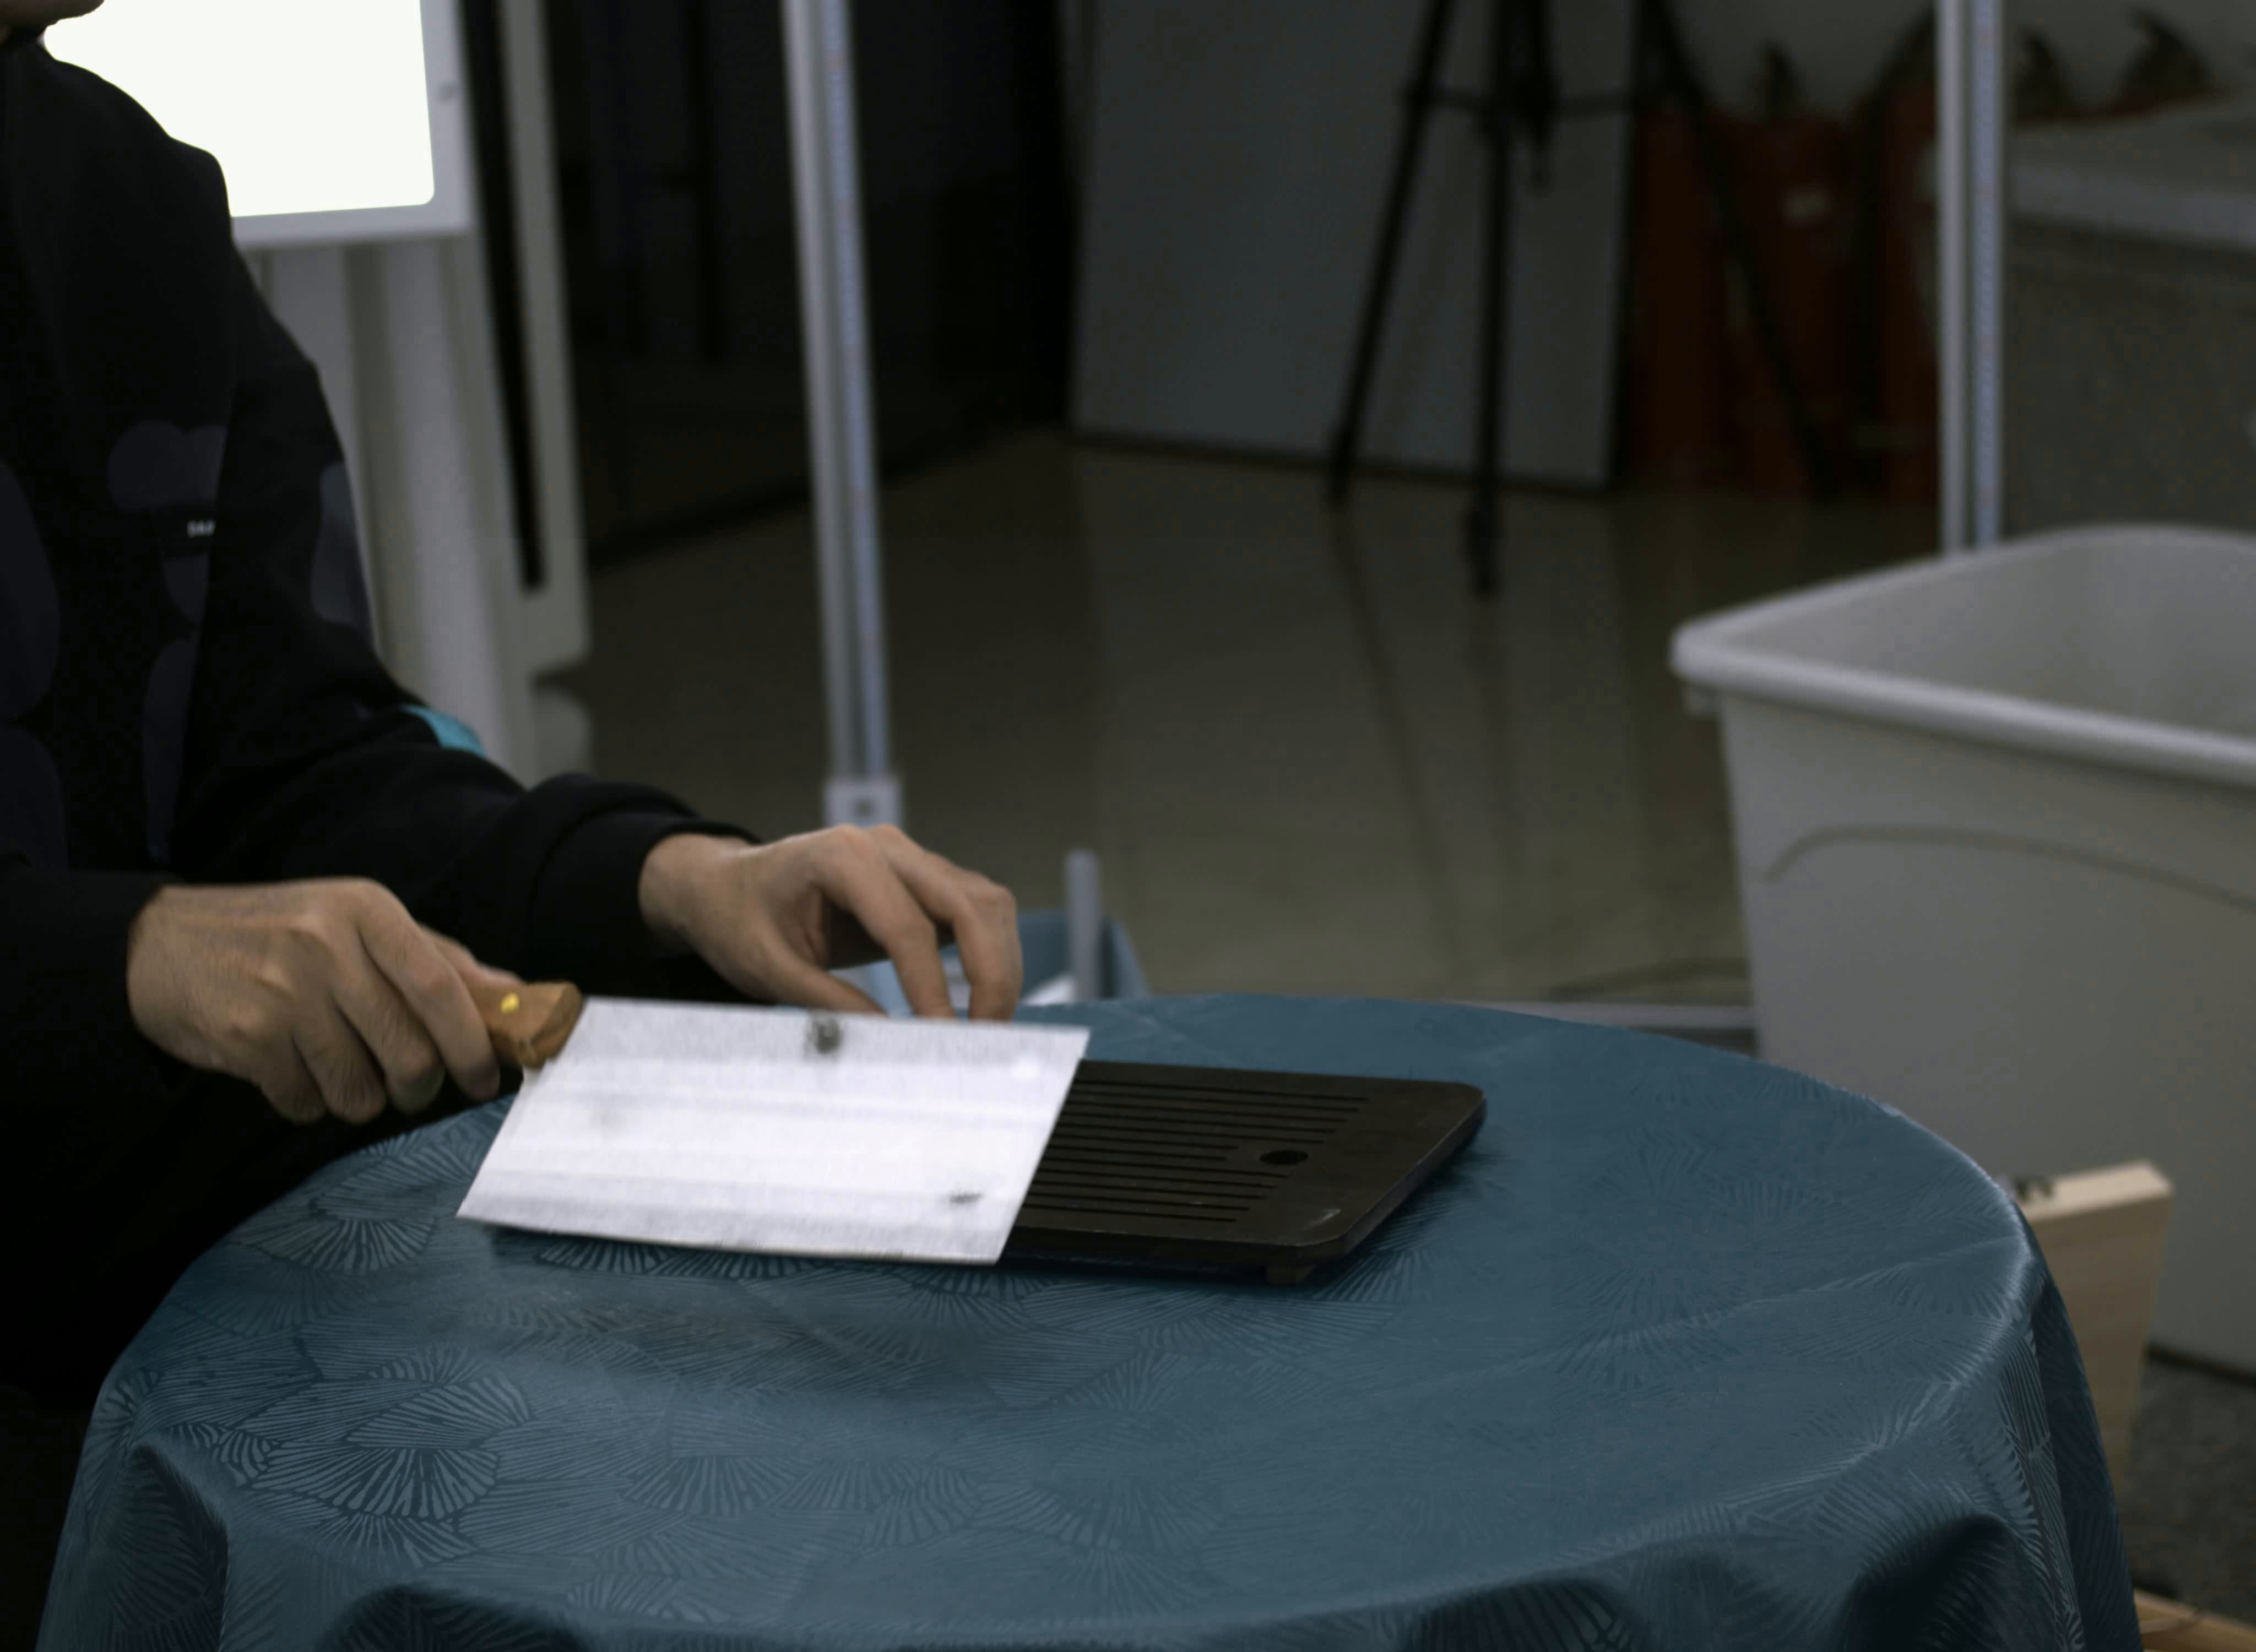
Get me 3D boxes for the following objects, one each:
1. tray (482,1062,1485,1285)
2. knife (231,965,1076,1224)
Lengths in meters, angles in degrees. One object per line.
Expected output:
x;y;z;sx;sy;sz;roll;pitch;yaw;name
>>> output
-0.046;0.110;1.791;0.306;0.019;0.168;2;15;24;tray
-0.159;0.085;1.682;0.306;0.021;0.093;1;52;28;knife
